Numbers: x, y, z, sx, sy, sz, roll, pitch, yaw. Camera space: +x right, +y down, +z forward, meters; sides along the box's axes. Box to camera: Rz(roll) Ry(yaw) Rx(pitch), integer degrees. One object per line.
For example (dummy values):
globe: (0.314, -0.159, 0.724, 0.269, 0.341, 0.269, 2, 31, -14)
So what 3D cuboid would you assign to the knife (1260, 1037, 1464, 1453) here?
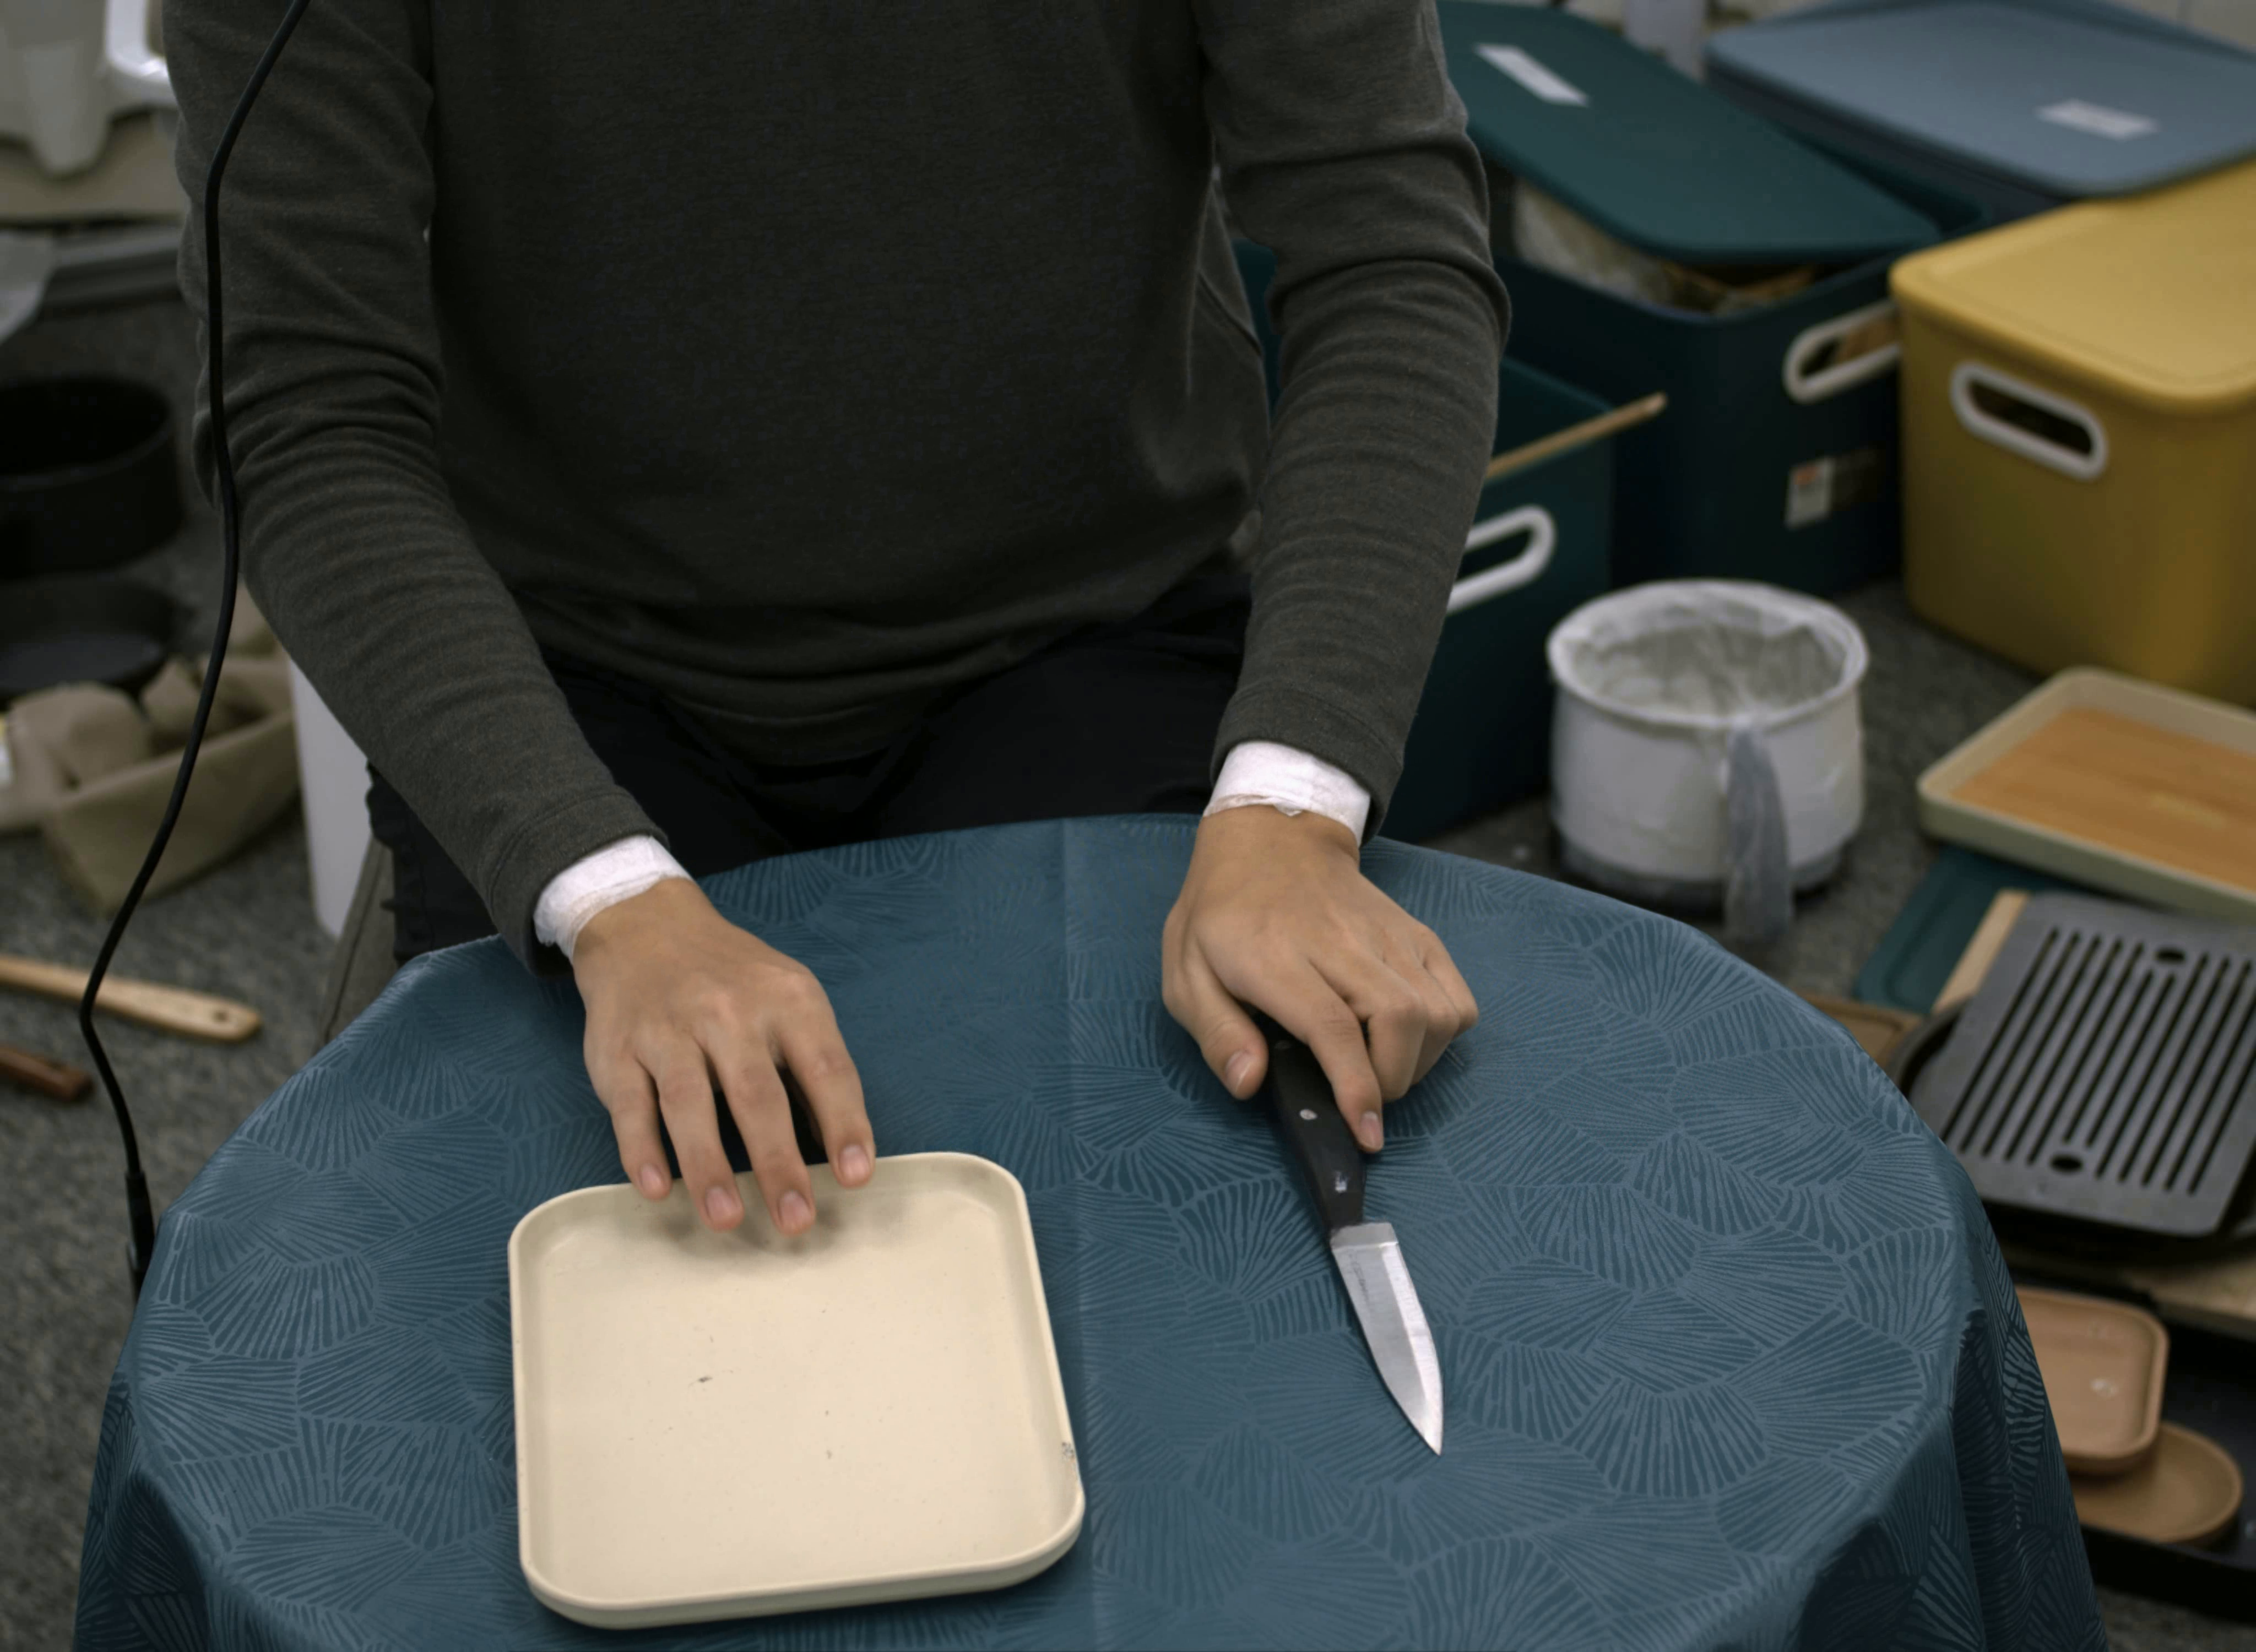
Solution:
knife: (0.074, 0.135, 1.817, 0.024, 0.016, 0.241, -7, 30, -9)

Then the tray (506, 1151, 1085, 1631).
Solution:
tray: (-0.107, 0.174, 1.749, 0.171, 0.017, 0.243, -6, 27, -5)
